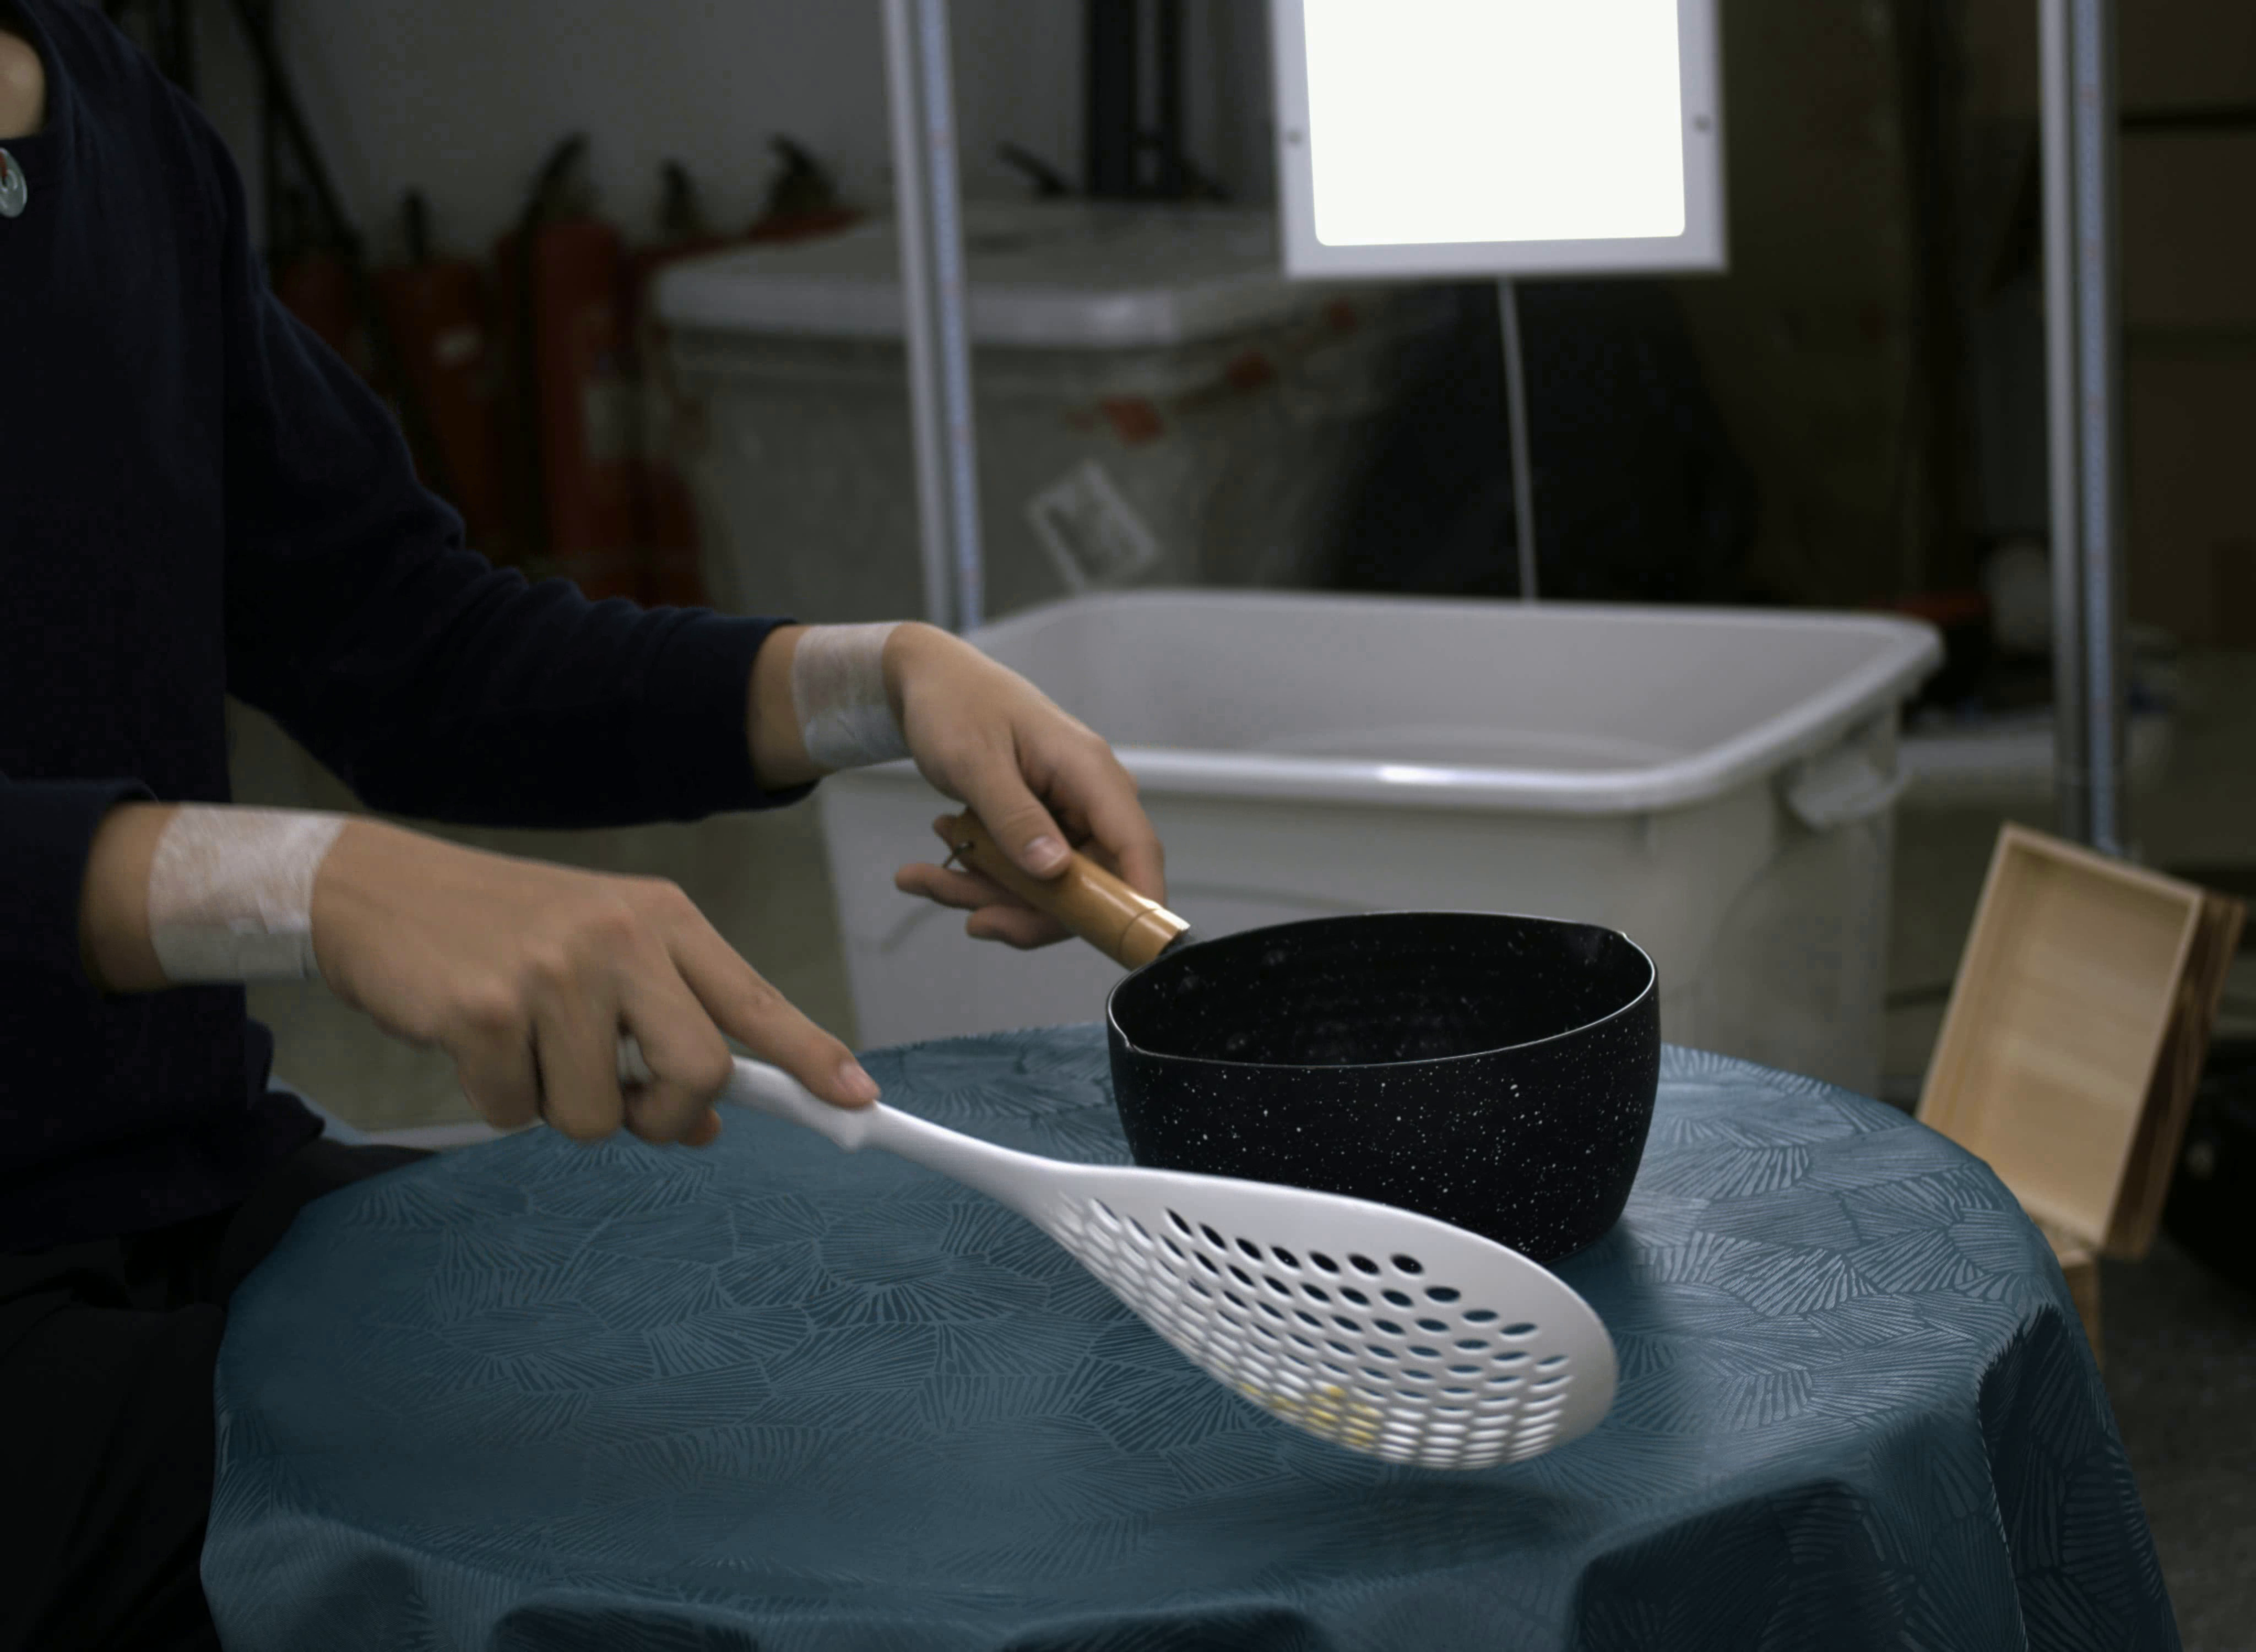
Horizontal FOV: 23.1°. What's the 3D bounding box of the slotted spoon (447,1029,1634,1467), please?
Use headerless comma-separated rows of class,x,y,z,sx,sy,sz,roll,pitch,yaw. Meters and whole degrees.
slotted spoon,-0.026,0.111,1.564,0.349,0.050,0.137,23,-24,8

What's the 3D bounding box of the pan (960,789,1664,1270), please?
pan,0.042,0.069,1.890,0.202,0.108,0.349,-15,18,-31
